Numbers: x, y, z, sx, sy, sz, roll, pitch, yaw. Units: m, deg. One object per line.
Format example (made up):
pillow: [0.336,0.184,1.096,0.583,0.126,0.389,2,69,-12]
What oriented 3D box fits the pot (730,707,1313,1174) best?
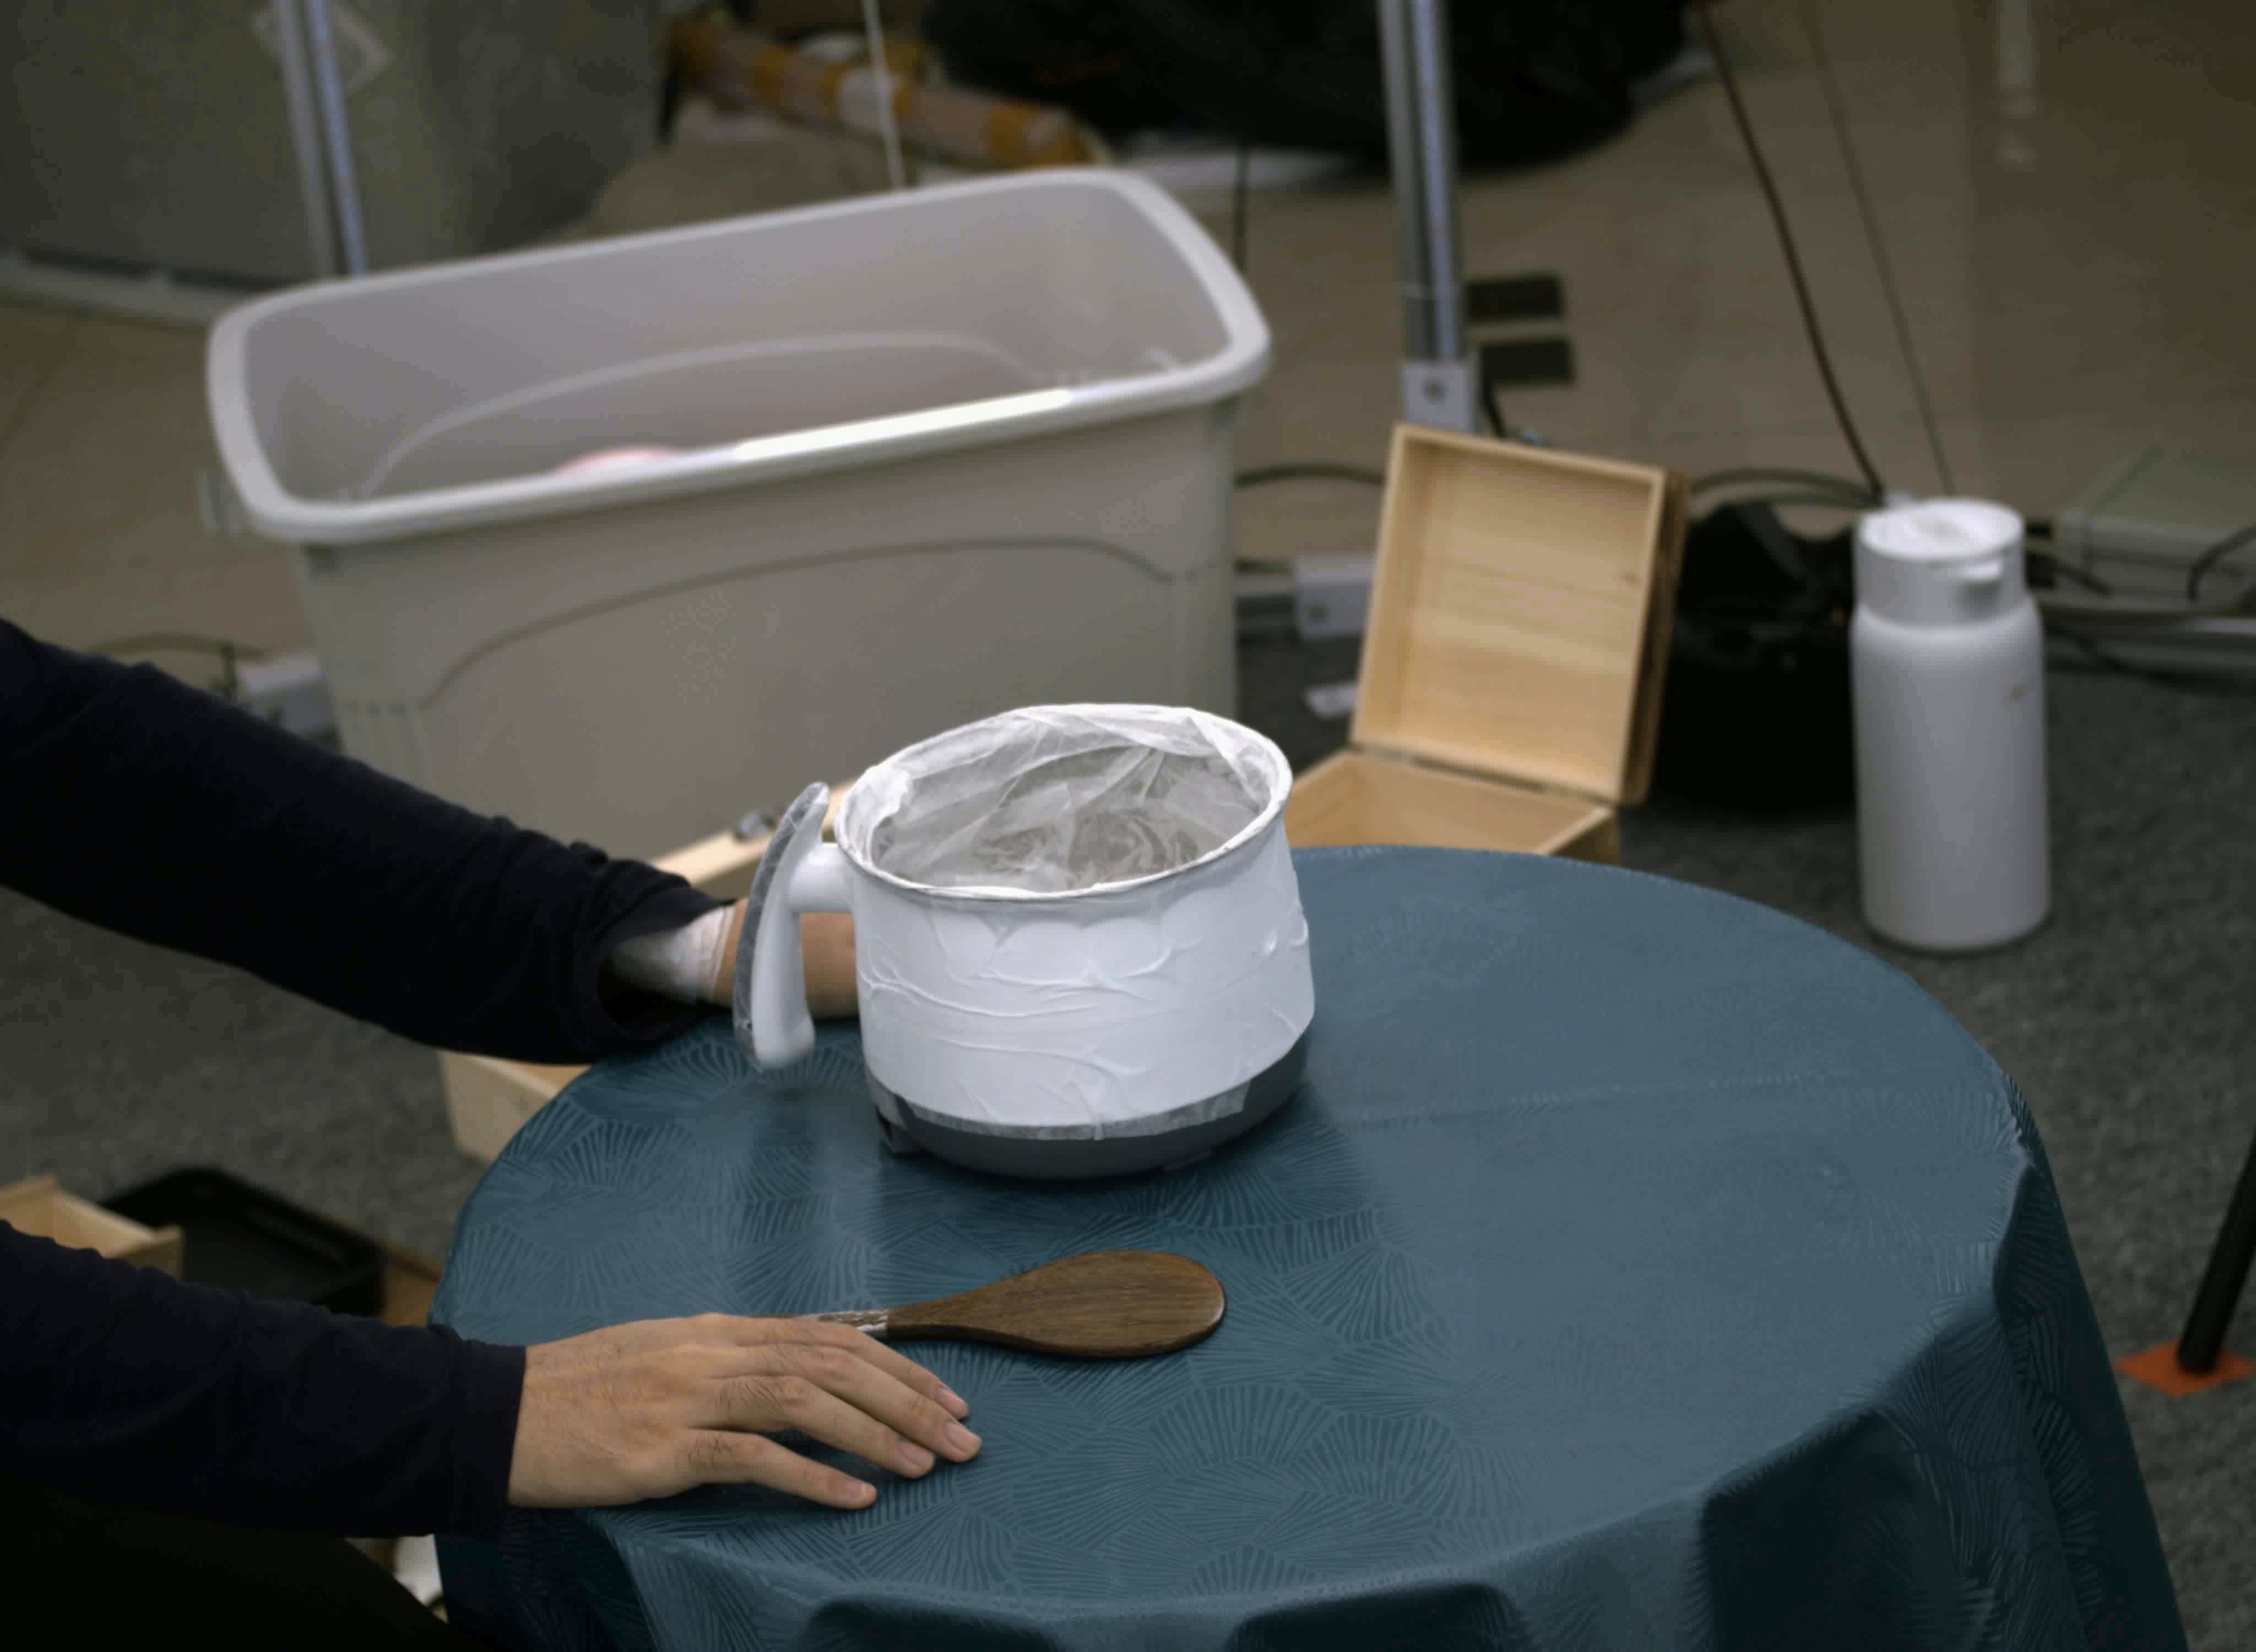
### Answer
pot: [-0.045,0.045,2.197,0.233,0.138,0.176,1,24,13]

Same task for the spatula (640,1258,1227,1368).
spatula: [-0.071,0.182,2.071,0.215,0.009,0.071,-6,23,4]
